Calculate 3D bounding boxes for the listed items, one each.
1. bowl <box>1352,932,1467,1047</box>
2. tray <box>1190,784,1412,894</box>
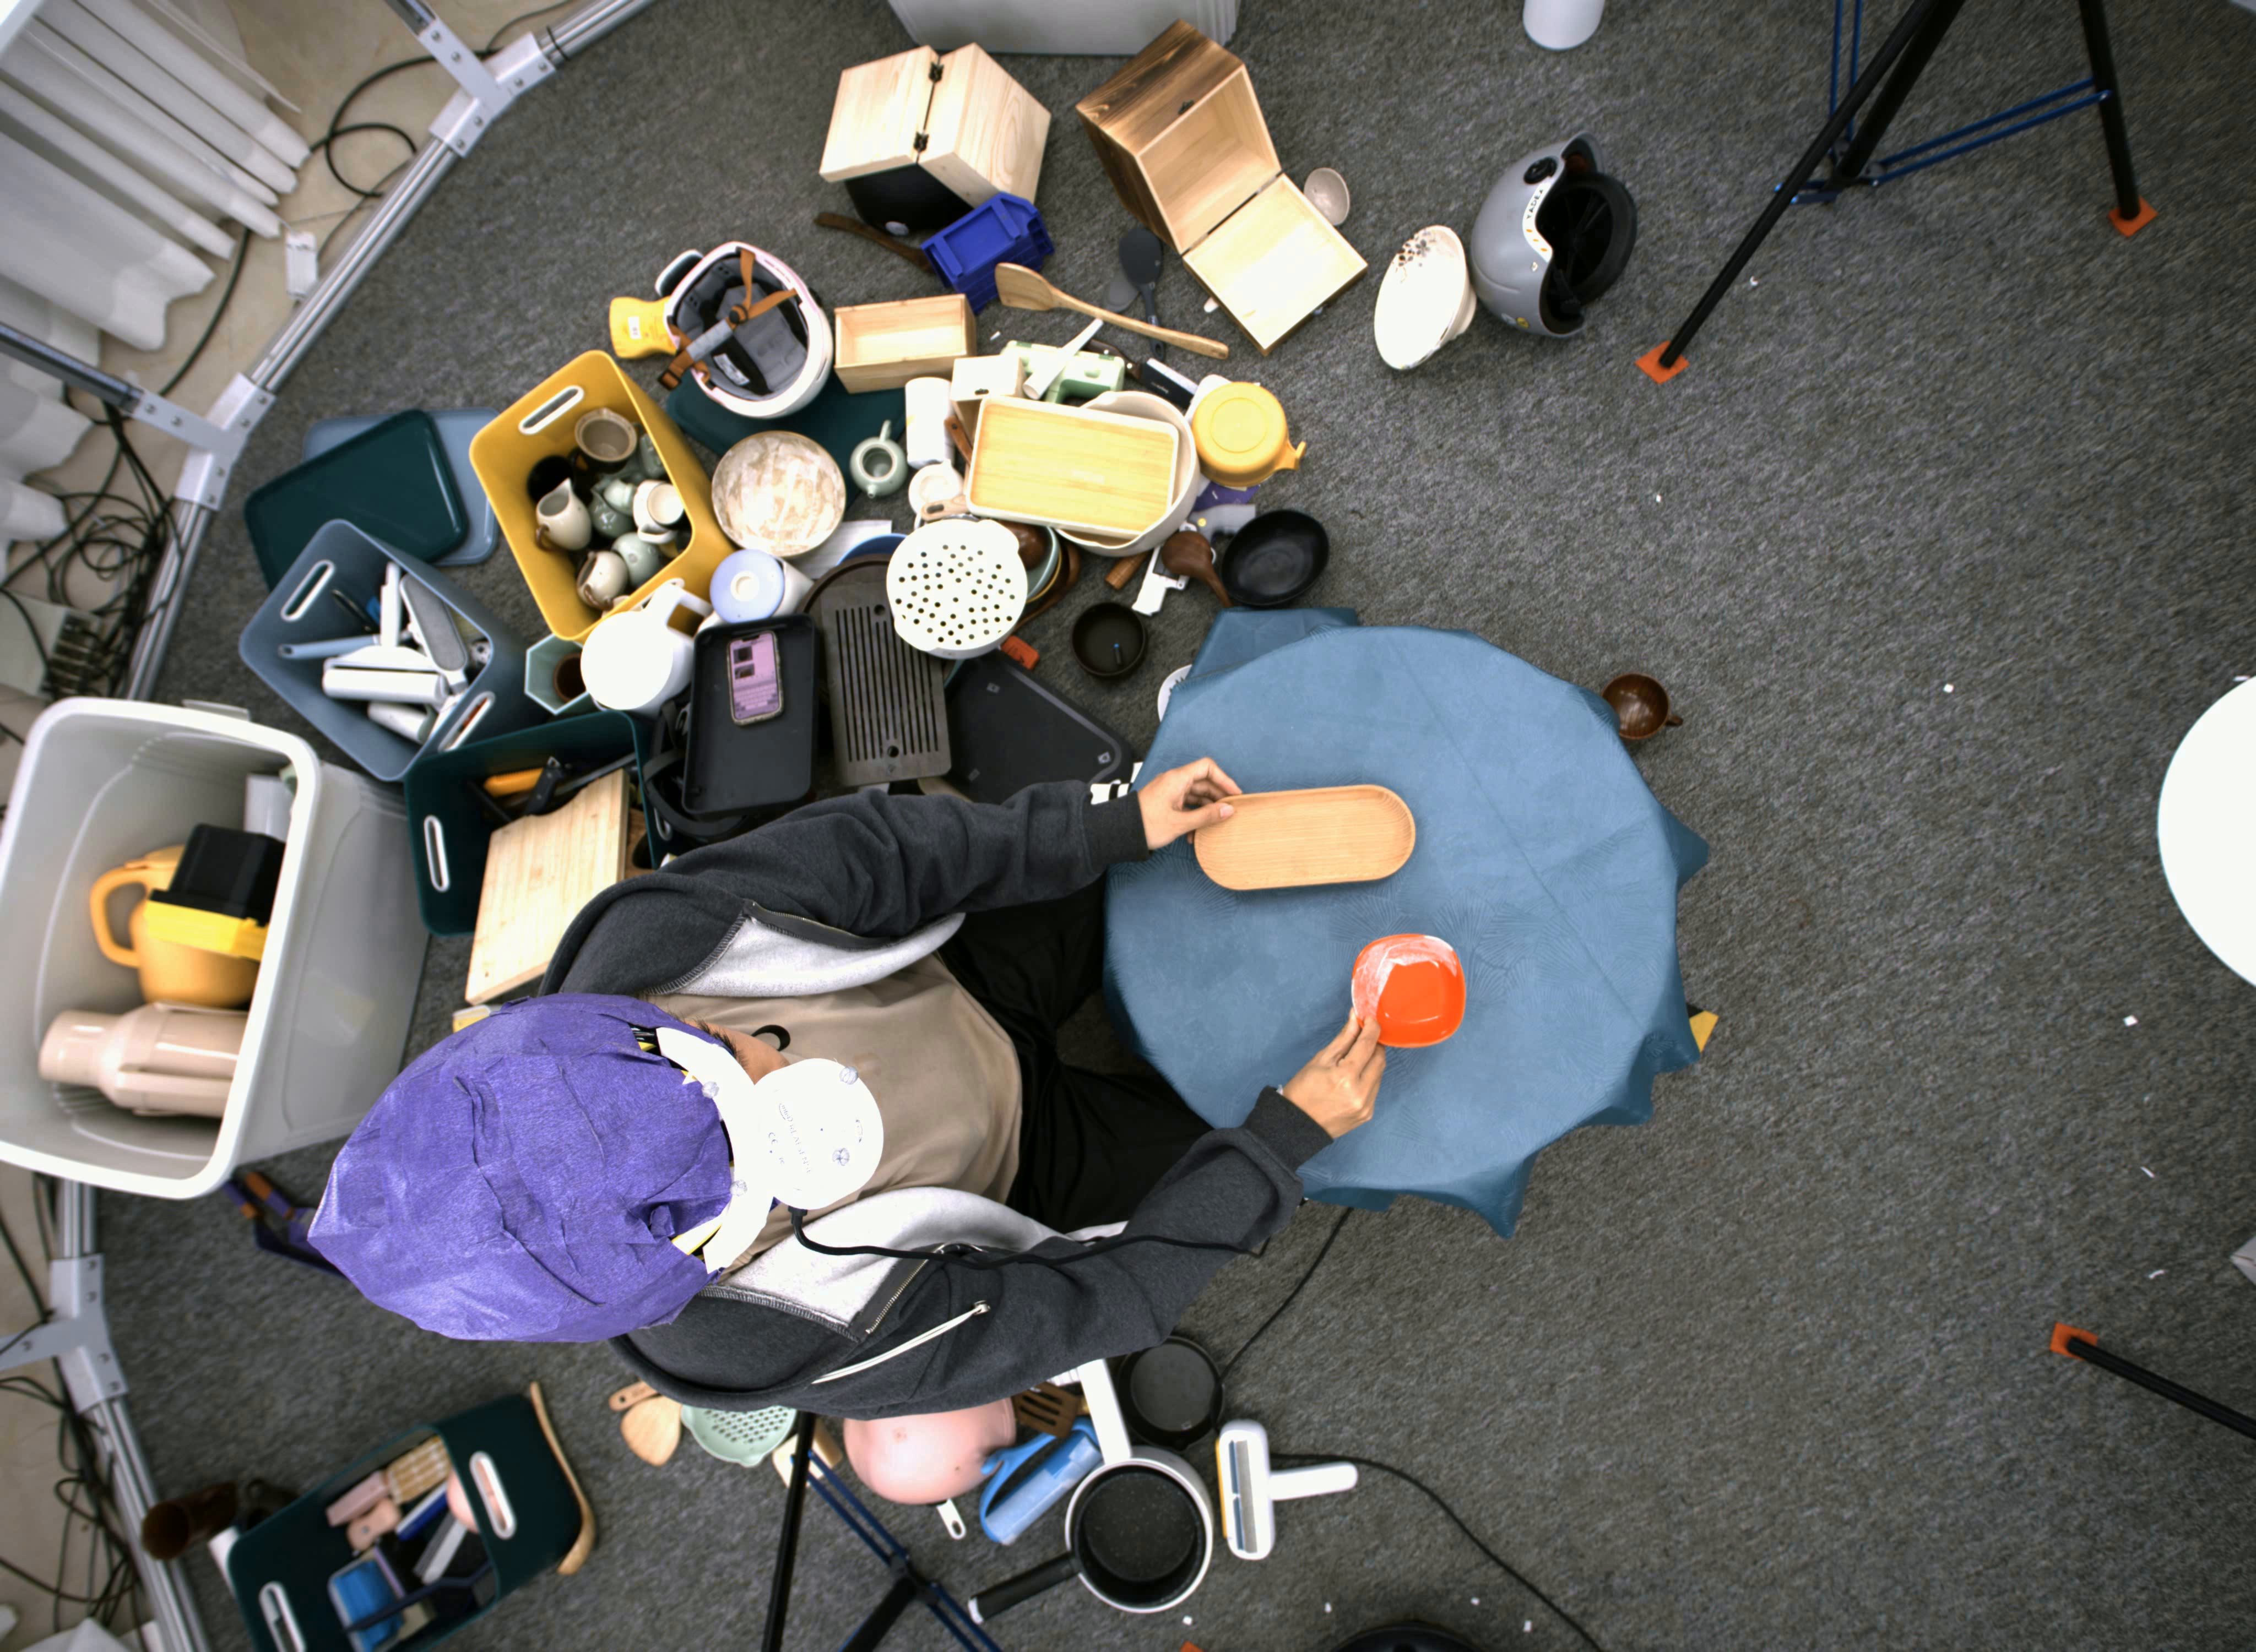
[{"bbox_3d":[0.279,0.159,1.358,0.119,0.051,0.118,-1,87,17],"label":"bowl"},{"bbox_3d":[0.180,0.013,1.442,0.232,0.020,0.101,-6,86,3],"label":"tray"}]
